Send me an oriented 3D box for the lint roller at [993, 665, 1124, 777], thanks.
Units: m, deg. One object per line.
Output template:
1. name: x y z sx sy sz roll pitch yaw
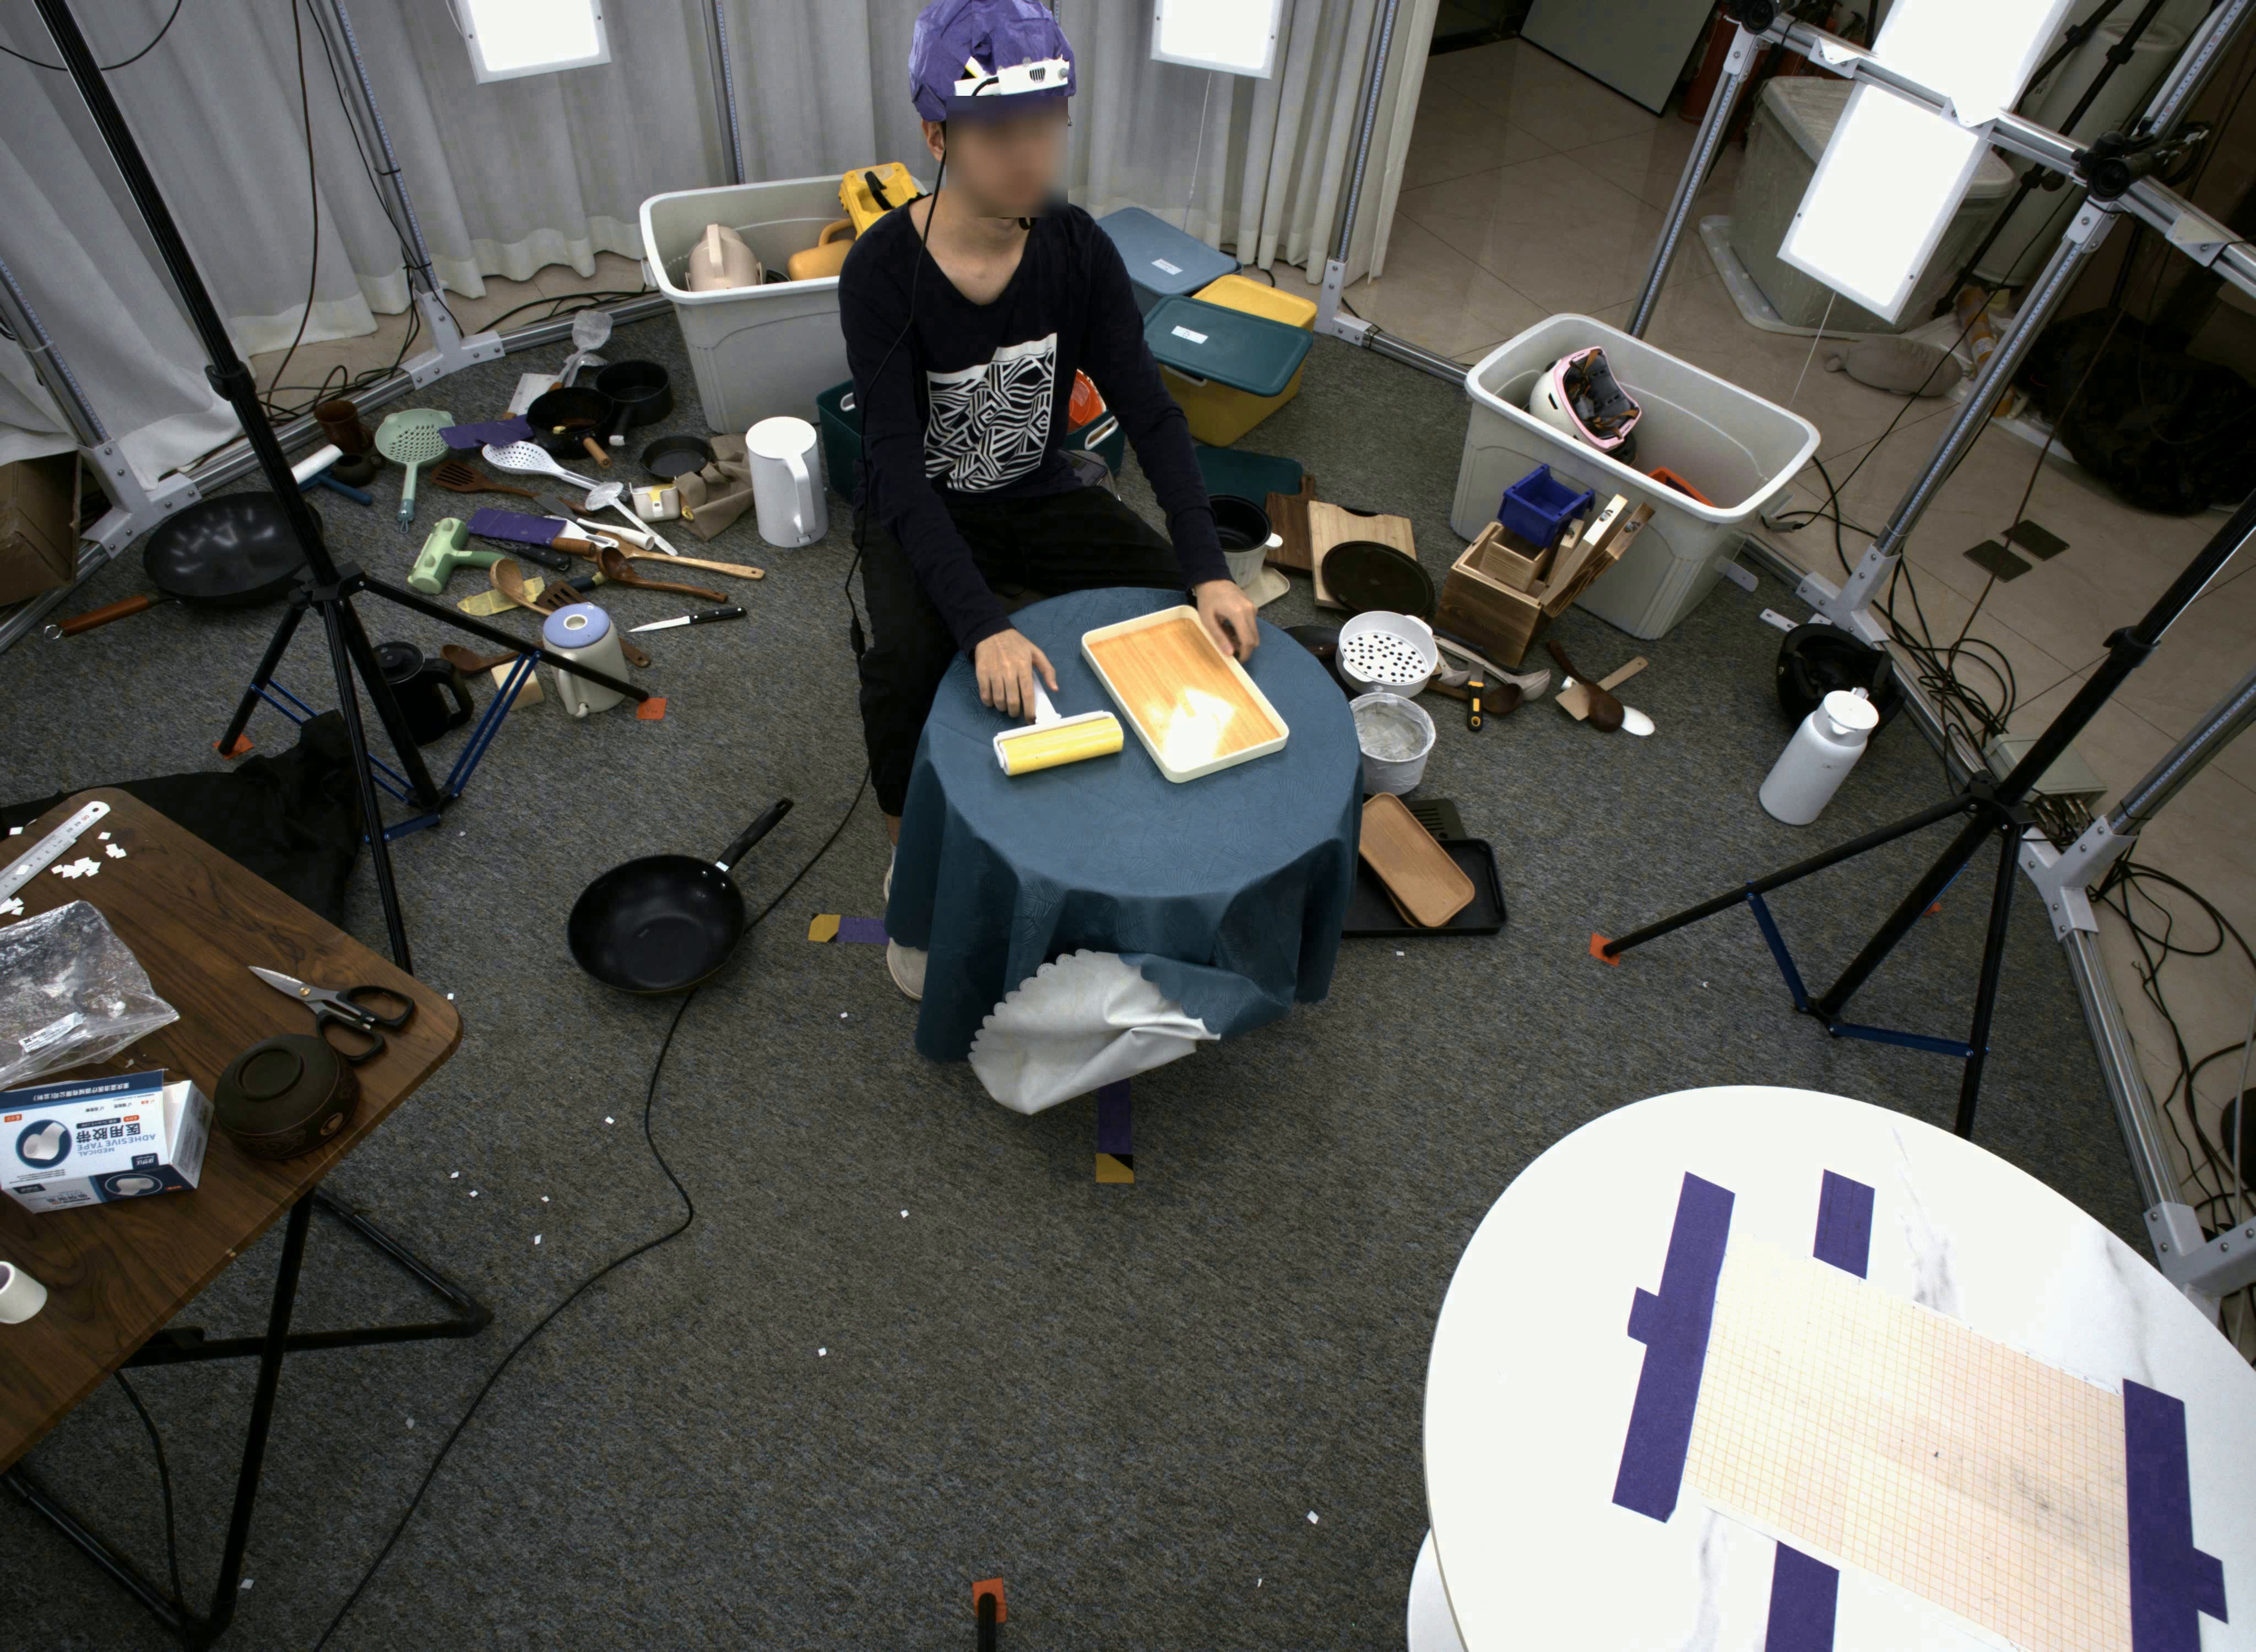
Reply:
1. lint roller: -0.117 -0.162 1.762 0.174 0.050 0.196 -14 57 -17

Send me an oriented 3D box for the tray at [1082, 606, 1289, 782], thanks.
1. tray: 0.077 -0.194 1.823 0.192 0.027 0.307 -18 52 -19
